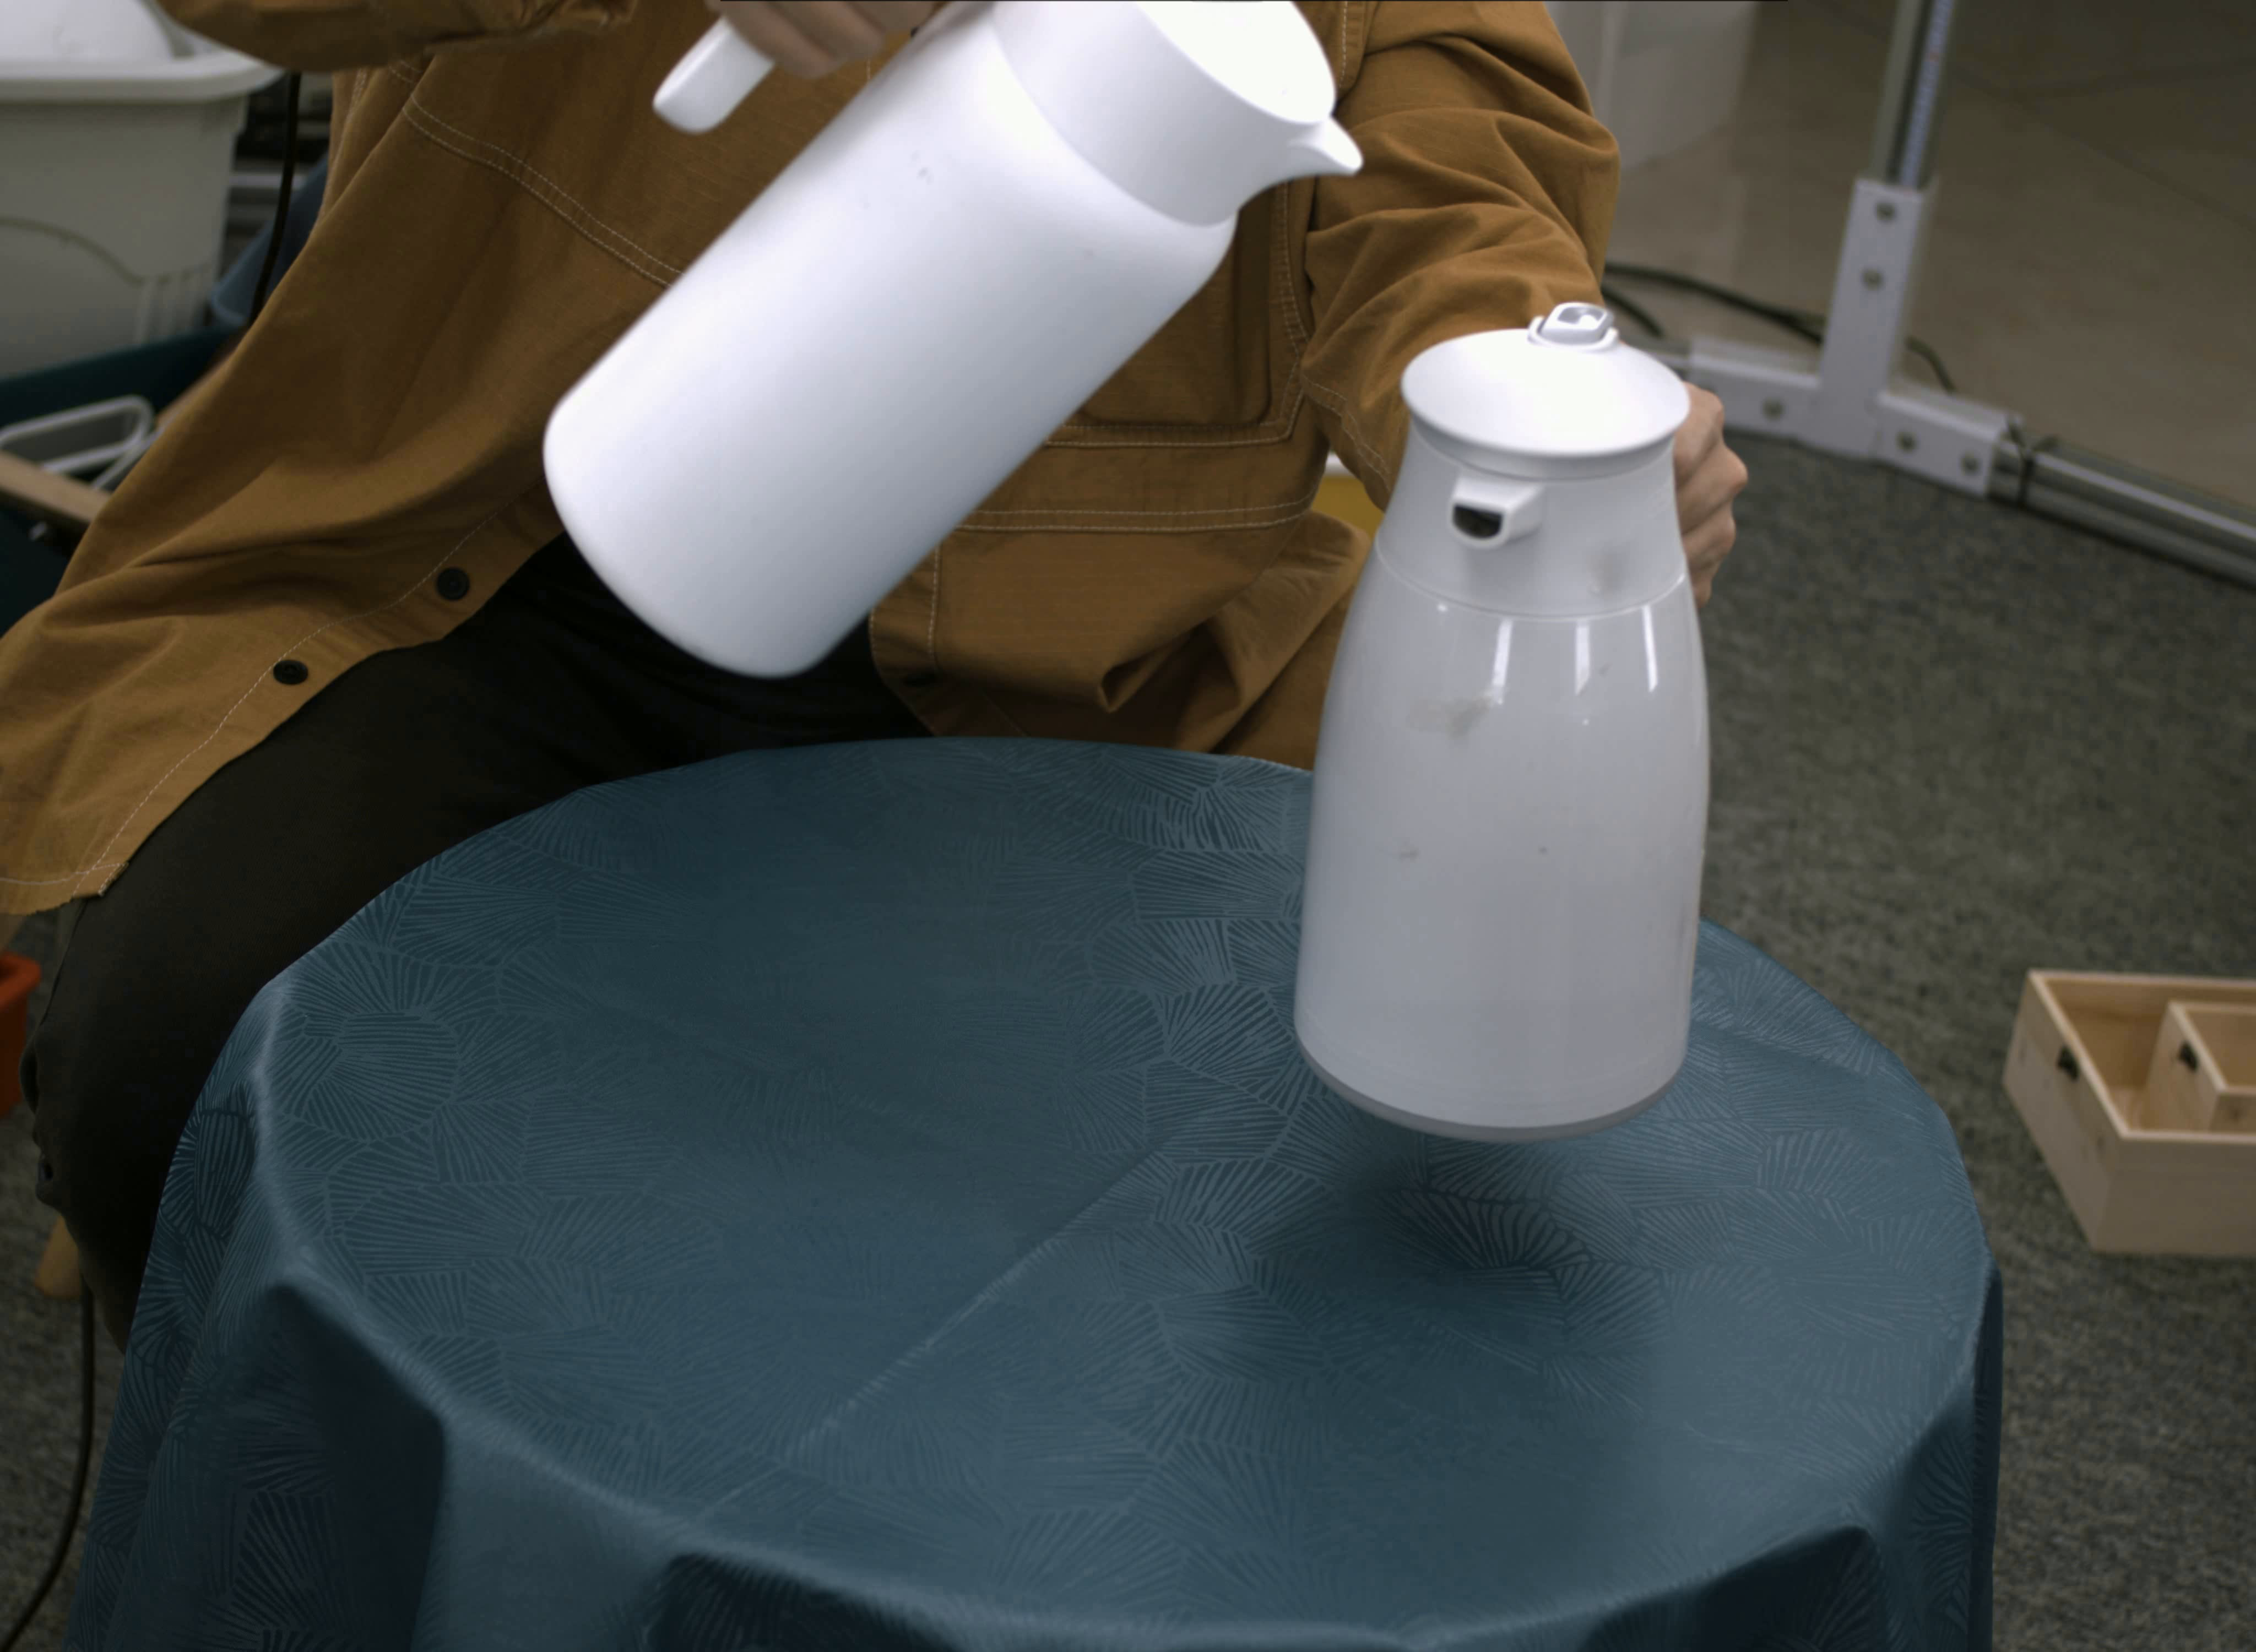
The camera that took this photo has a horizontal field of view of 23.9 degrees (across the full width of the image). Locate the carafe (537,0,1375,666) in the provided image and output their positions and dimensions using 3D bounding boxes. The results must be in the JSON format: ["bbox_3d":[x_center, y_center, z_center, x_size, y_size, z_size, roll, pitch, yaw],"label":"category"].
[{"bbox_3d":[-0.074,-0.183,1.655,0.172,0.269,0.124,40,30,-16],"label":"carafe"}]

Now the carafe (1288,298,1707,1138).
[{"bbox_3d":[0.131,-0.046,1.742,0.133,0.248,0.168,12,29,18],"label":"carafe"}]
